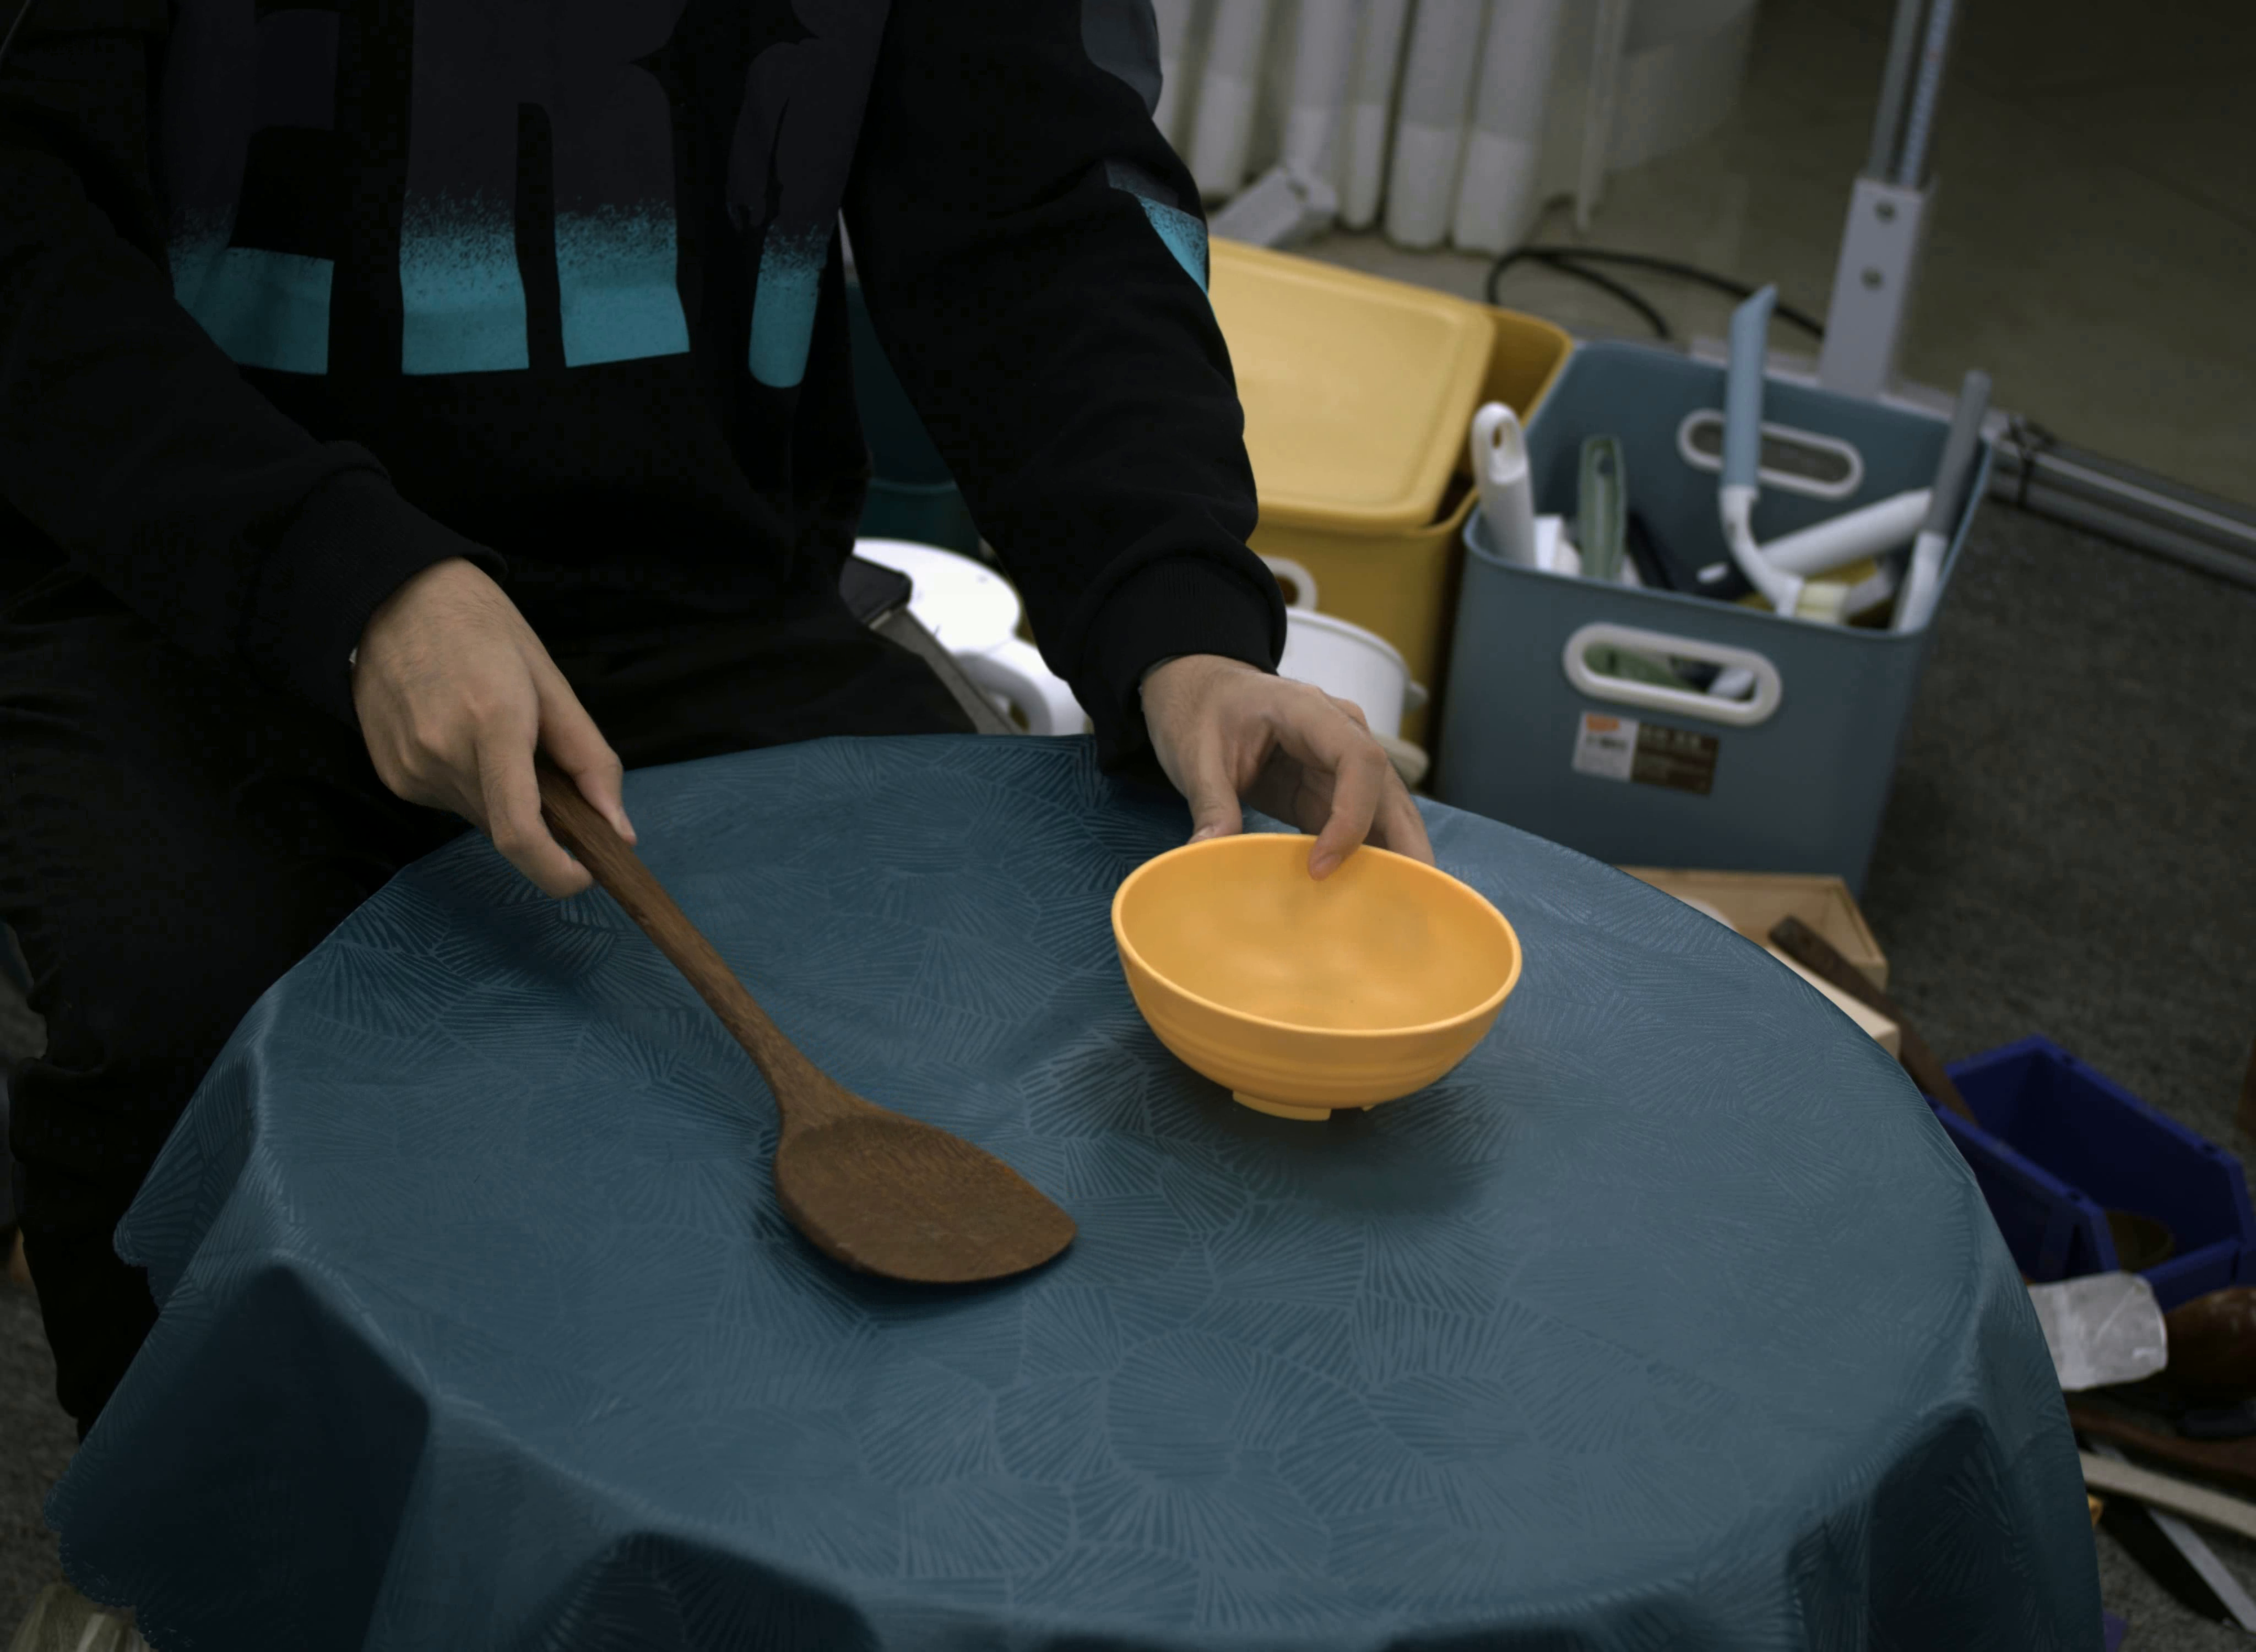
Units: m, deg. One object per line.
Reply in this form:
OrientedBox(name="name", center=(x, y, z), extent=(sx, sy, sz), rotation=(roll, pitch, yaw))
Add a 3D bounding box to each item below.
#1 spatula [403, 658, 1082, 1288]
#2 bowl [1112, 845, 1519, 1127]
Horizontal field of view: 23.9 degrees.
OrientedBox(name="spatula", center=(-0.152, 0.043, 1.851), extent=(0.095, 0.016, 0.389), rotation=(-6, 37, -40))
OrientedBox(name="bowl", center=(0.062, 0.064, 1.871), extent=(0.145, 0.060, 0.146), rotation=(6, 25, -3))
